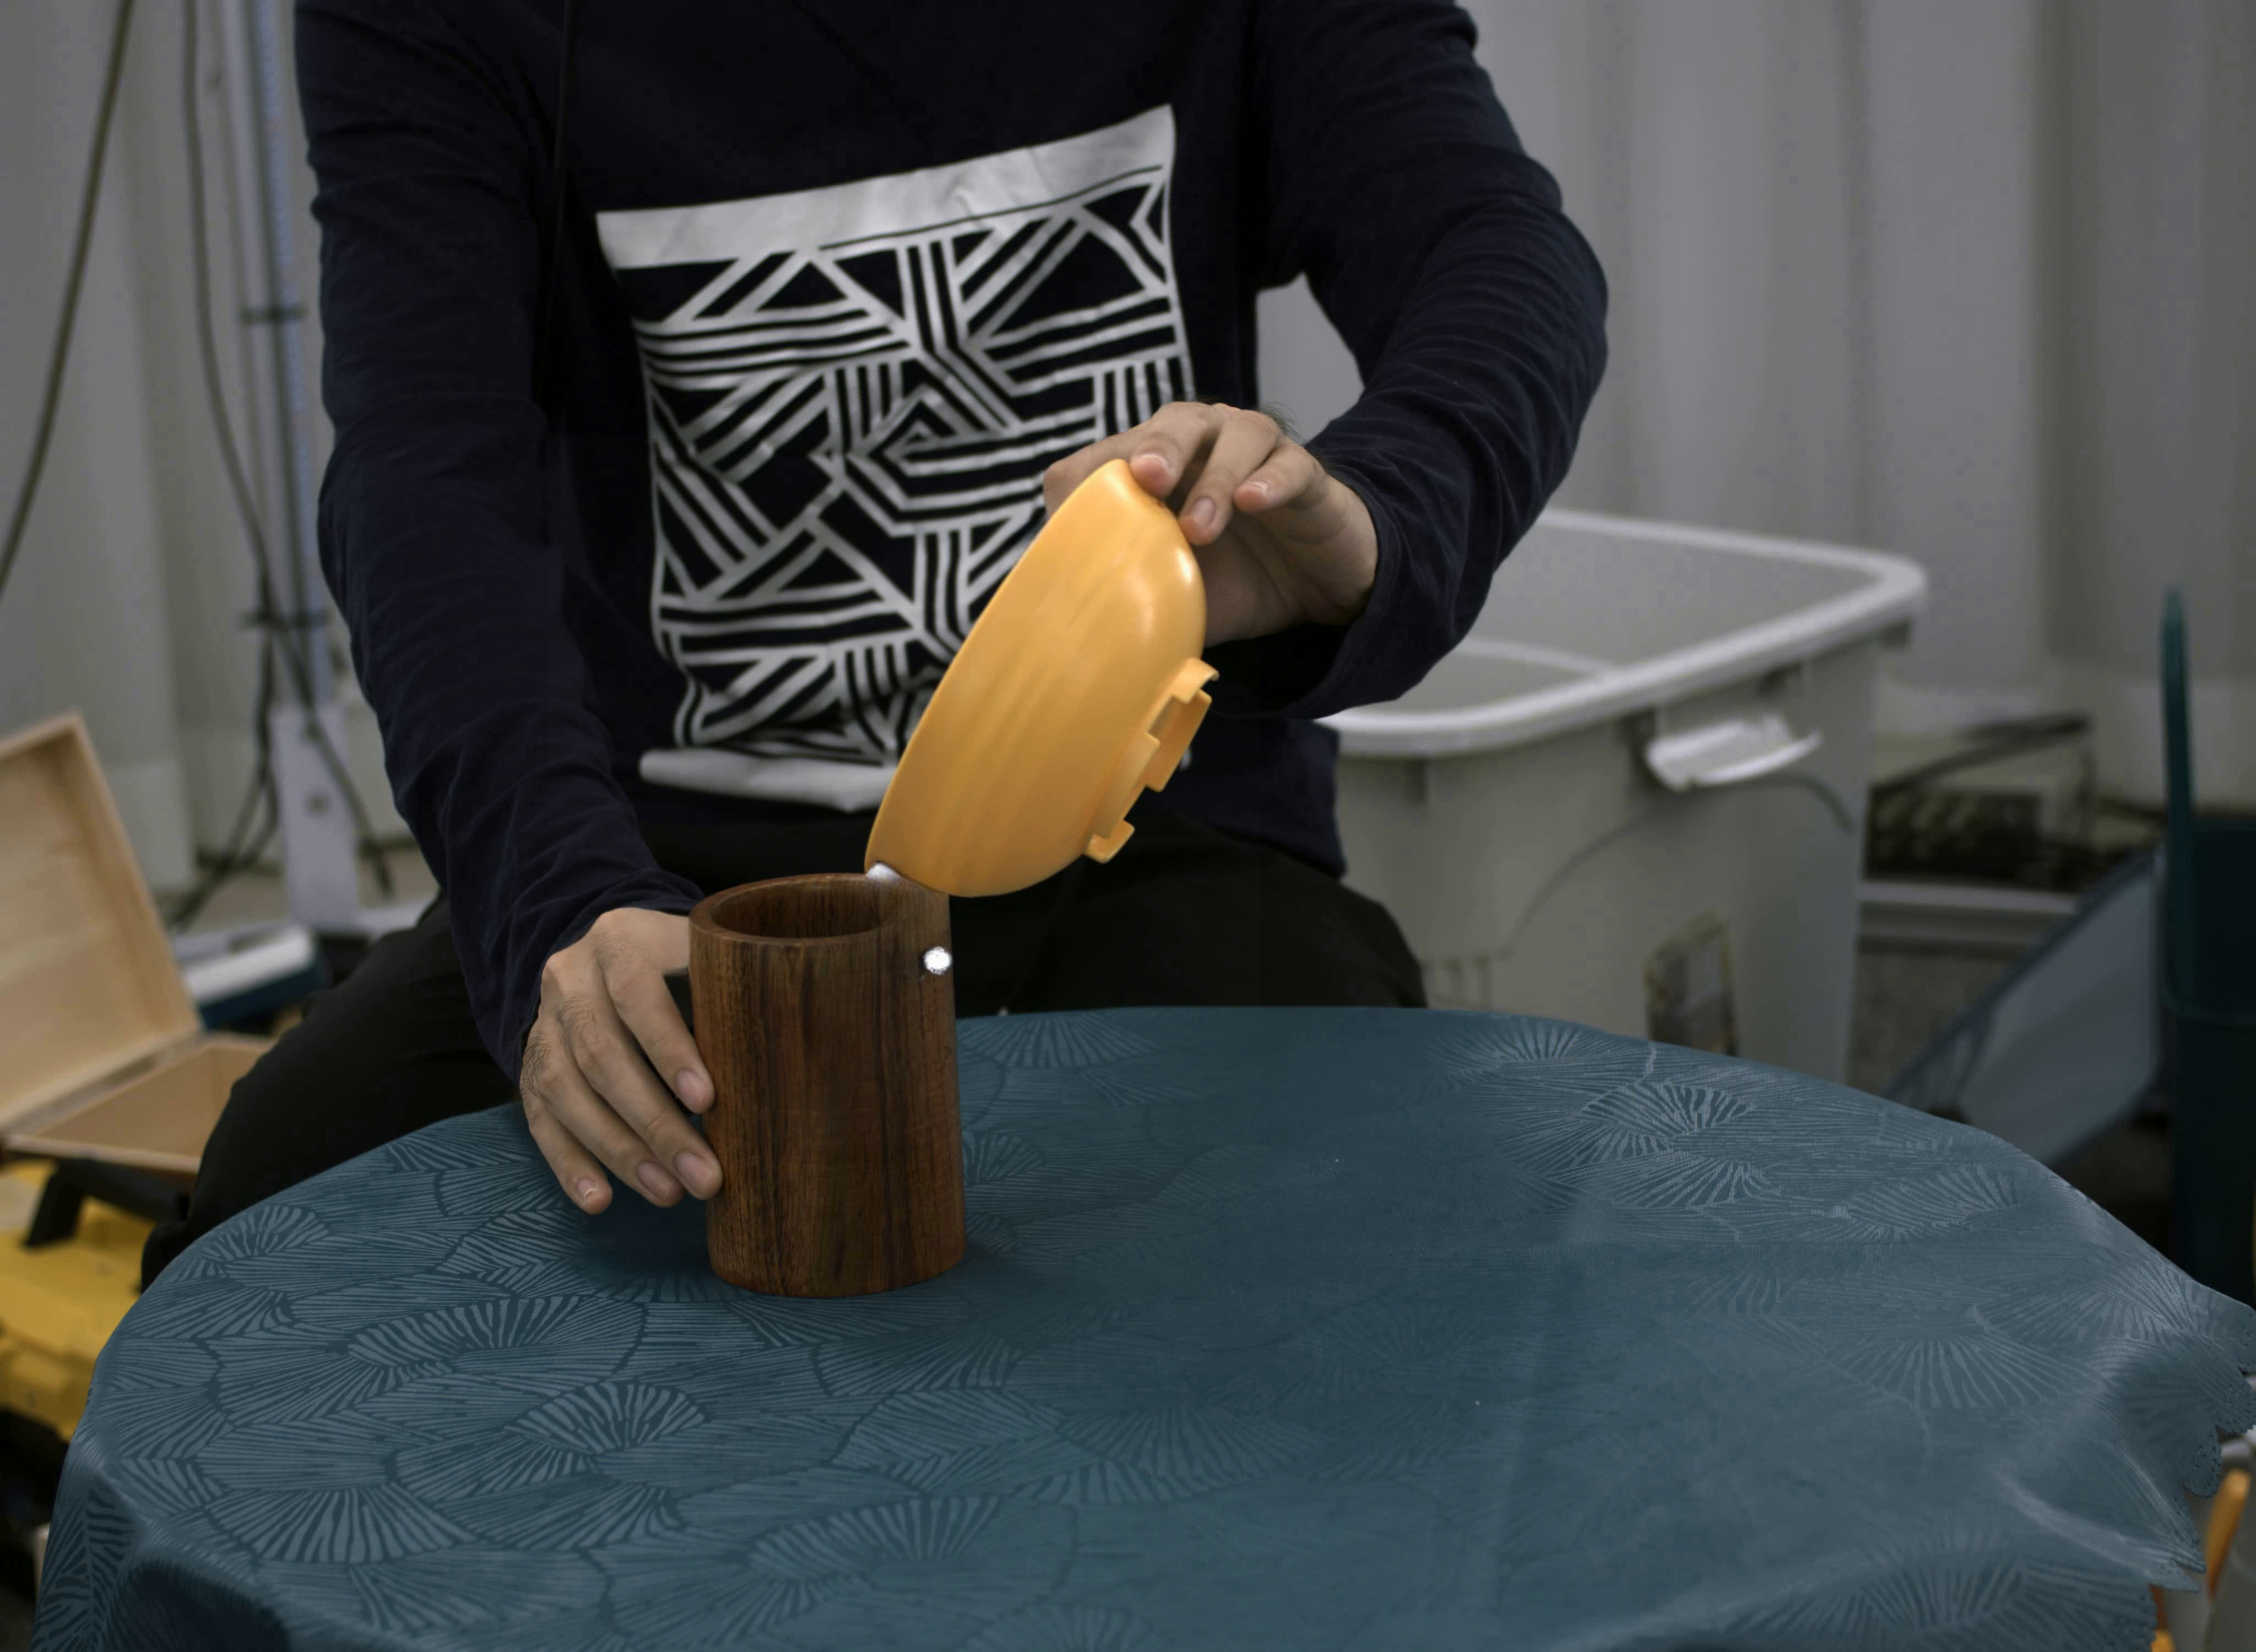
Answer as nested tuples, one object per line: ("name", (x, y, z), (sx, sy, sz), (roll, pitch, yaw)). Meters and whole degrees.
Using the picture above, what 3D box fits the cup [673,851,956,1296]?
("cup", (-0.094, 0.074, 1.657), (0.087, 0.118, 0.088), (0, 14, 0))

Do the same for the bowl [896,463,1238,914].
("bowl", (-0.008, -0.030, 1.616), (0.060, 0.144, 0.146), (26, 22, 12))
